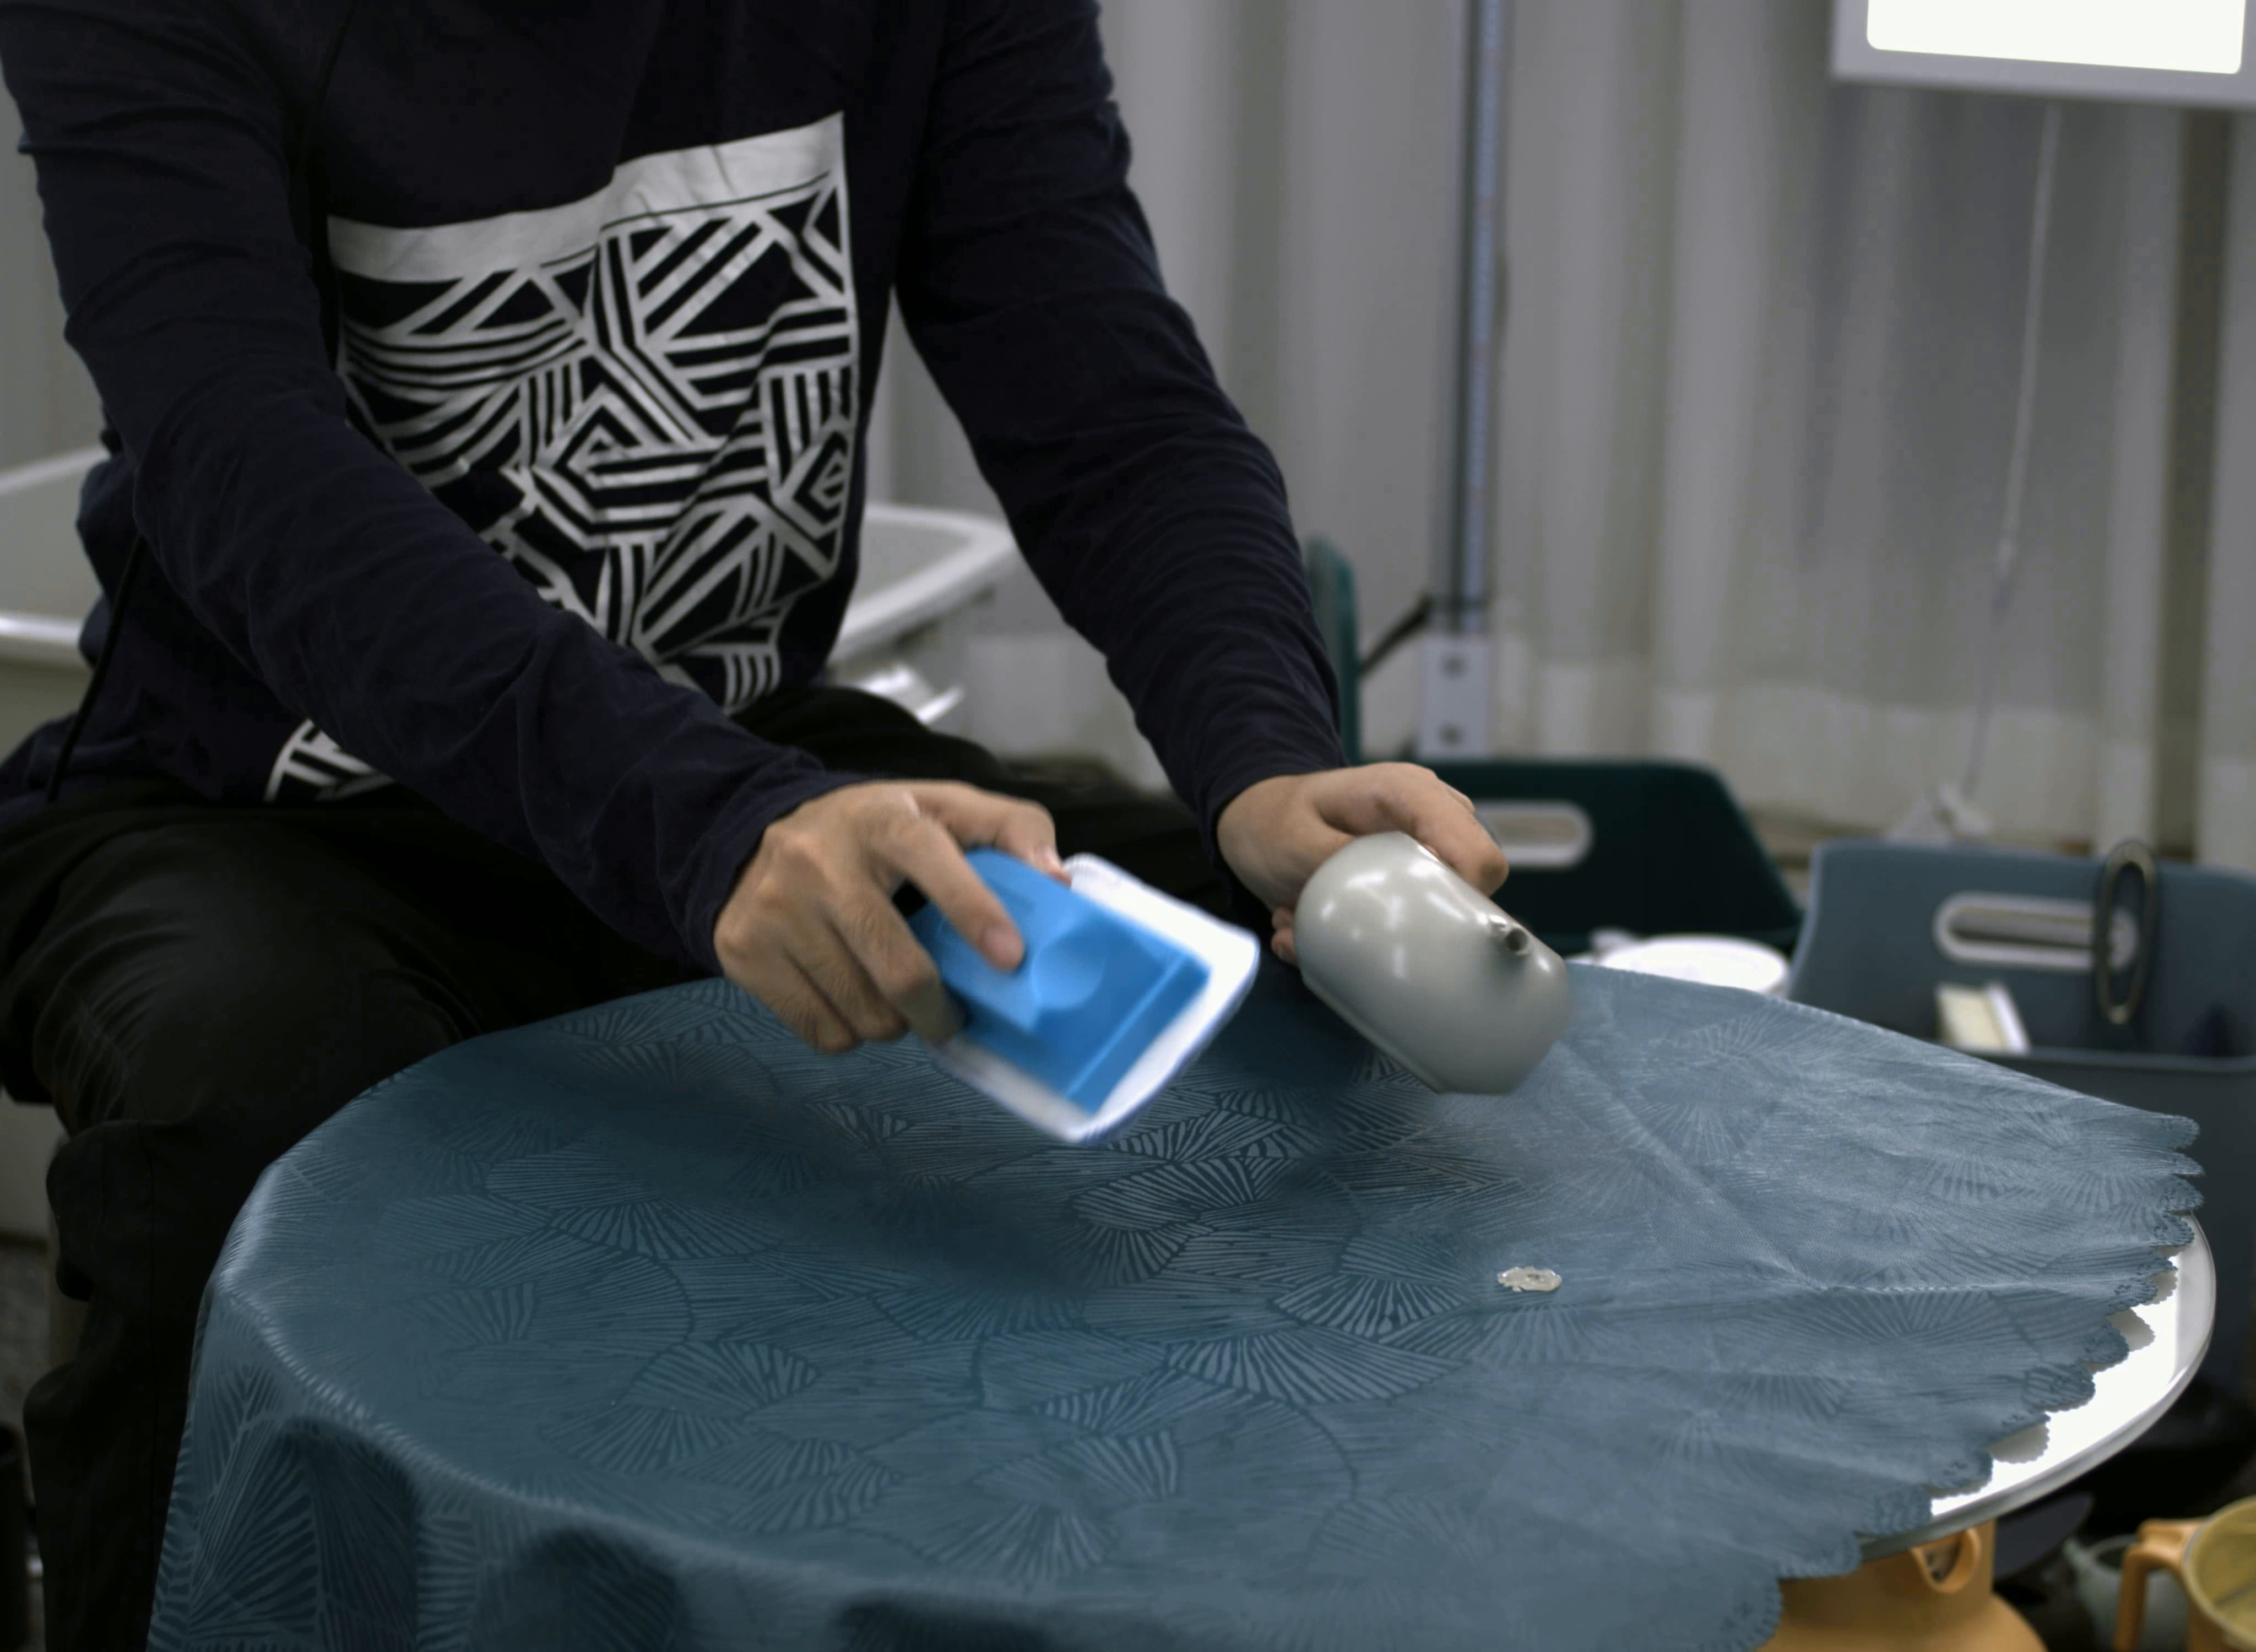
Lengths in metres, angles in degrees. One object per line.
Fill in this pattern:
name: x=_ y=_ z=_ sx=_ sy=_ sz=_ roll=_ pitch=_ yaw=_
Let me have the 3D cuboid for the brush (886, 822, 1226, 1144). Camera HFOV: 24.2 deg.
brush: x=-0.030 y=0.042 z=1.573 sx=0.084 sy=0.056 sz=0.142 roll=-46 pitch=27 yaw=-6

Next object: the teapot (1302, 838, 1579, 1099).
teapot: x=0.095 y=0.043 z=1.644 sx=0.092 sy=0.059 sz=0.127 roll=35 pitch=5 yaw=-18
